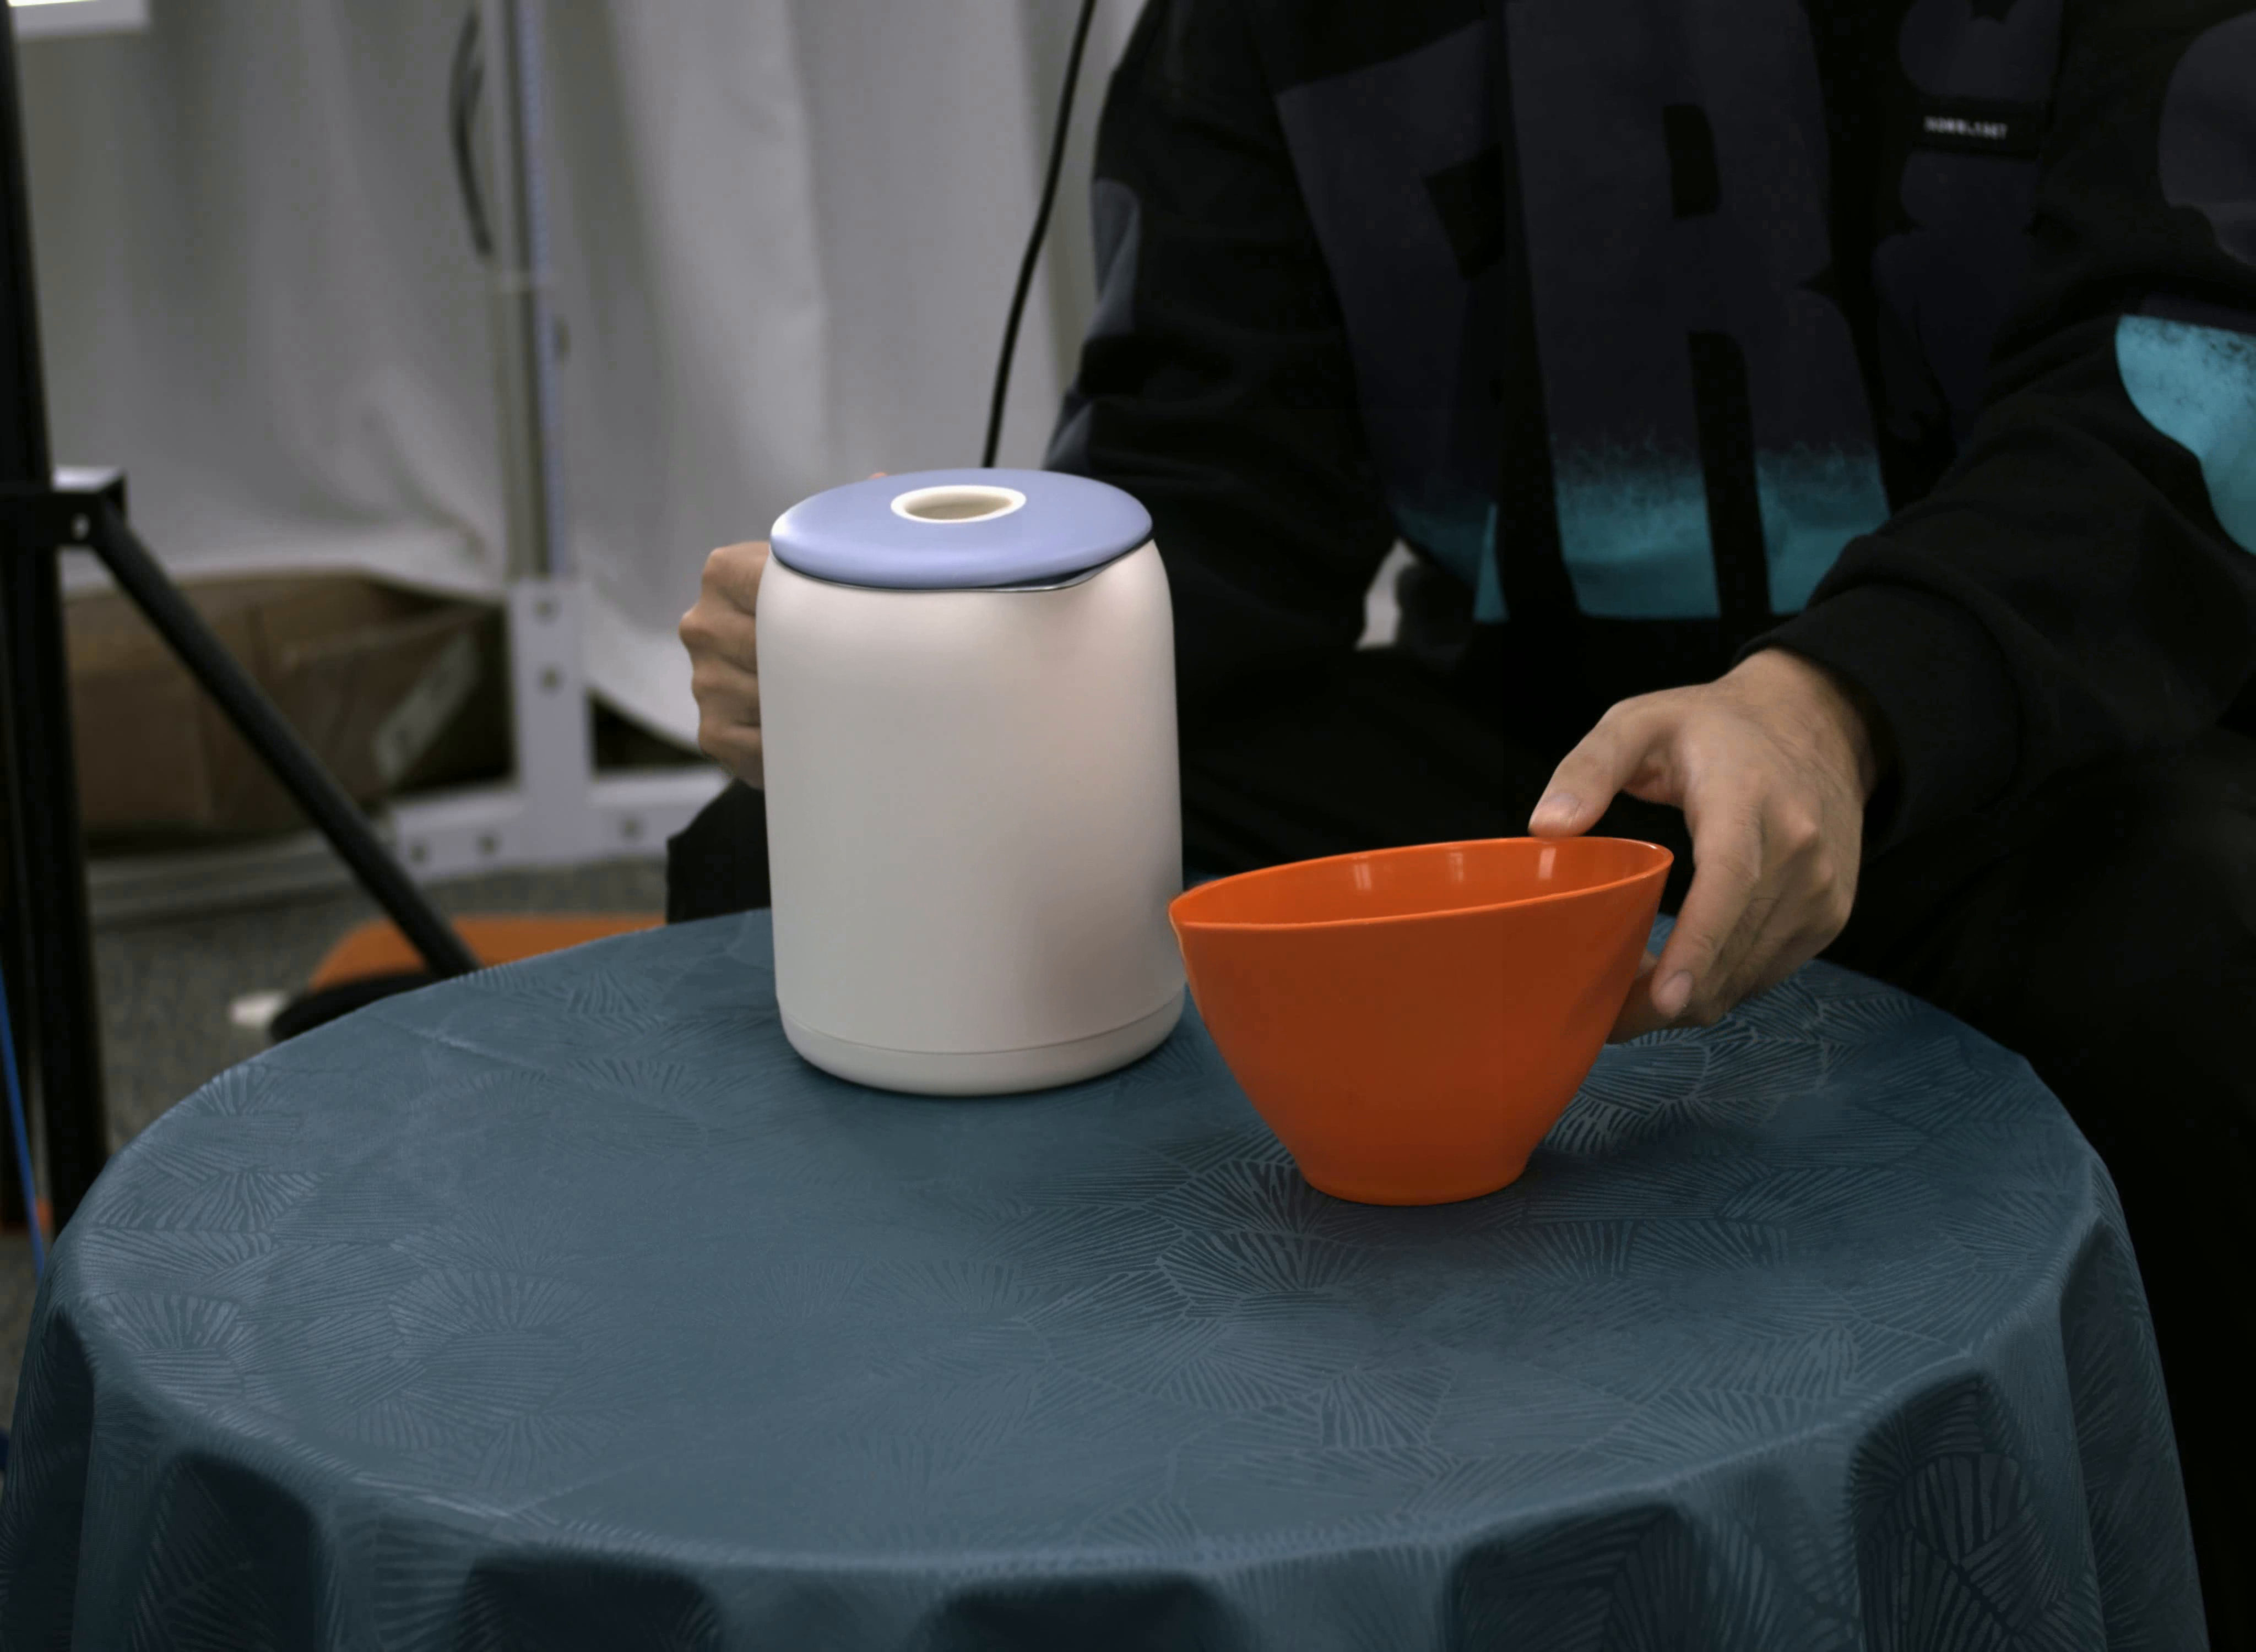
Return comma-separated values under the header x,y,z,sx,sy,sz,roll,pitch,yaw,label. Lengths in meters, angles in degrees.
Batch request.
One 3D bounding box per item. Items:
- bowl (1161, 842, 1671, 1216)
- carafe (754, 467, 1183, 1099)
x,y,z,sx,sy,sz,roll,pitch,yaw,label
0.084,0.057,1.540,0.147,0.104,0.149,-3,16,-1,bowl
-0.062,-0.020,1.699,0.129,0.182,0.195,-11,17,-28,carafe
